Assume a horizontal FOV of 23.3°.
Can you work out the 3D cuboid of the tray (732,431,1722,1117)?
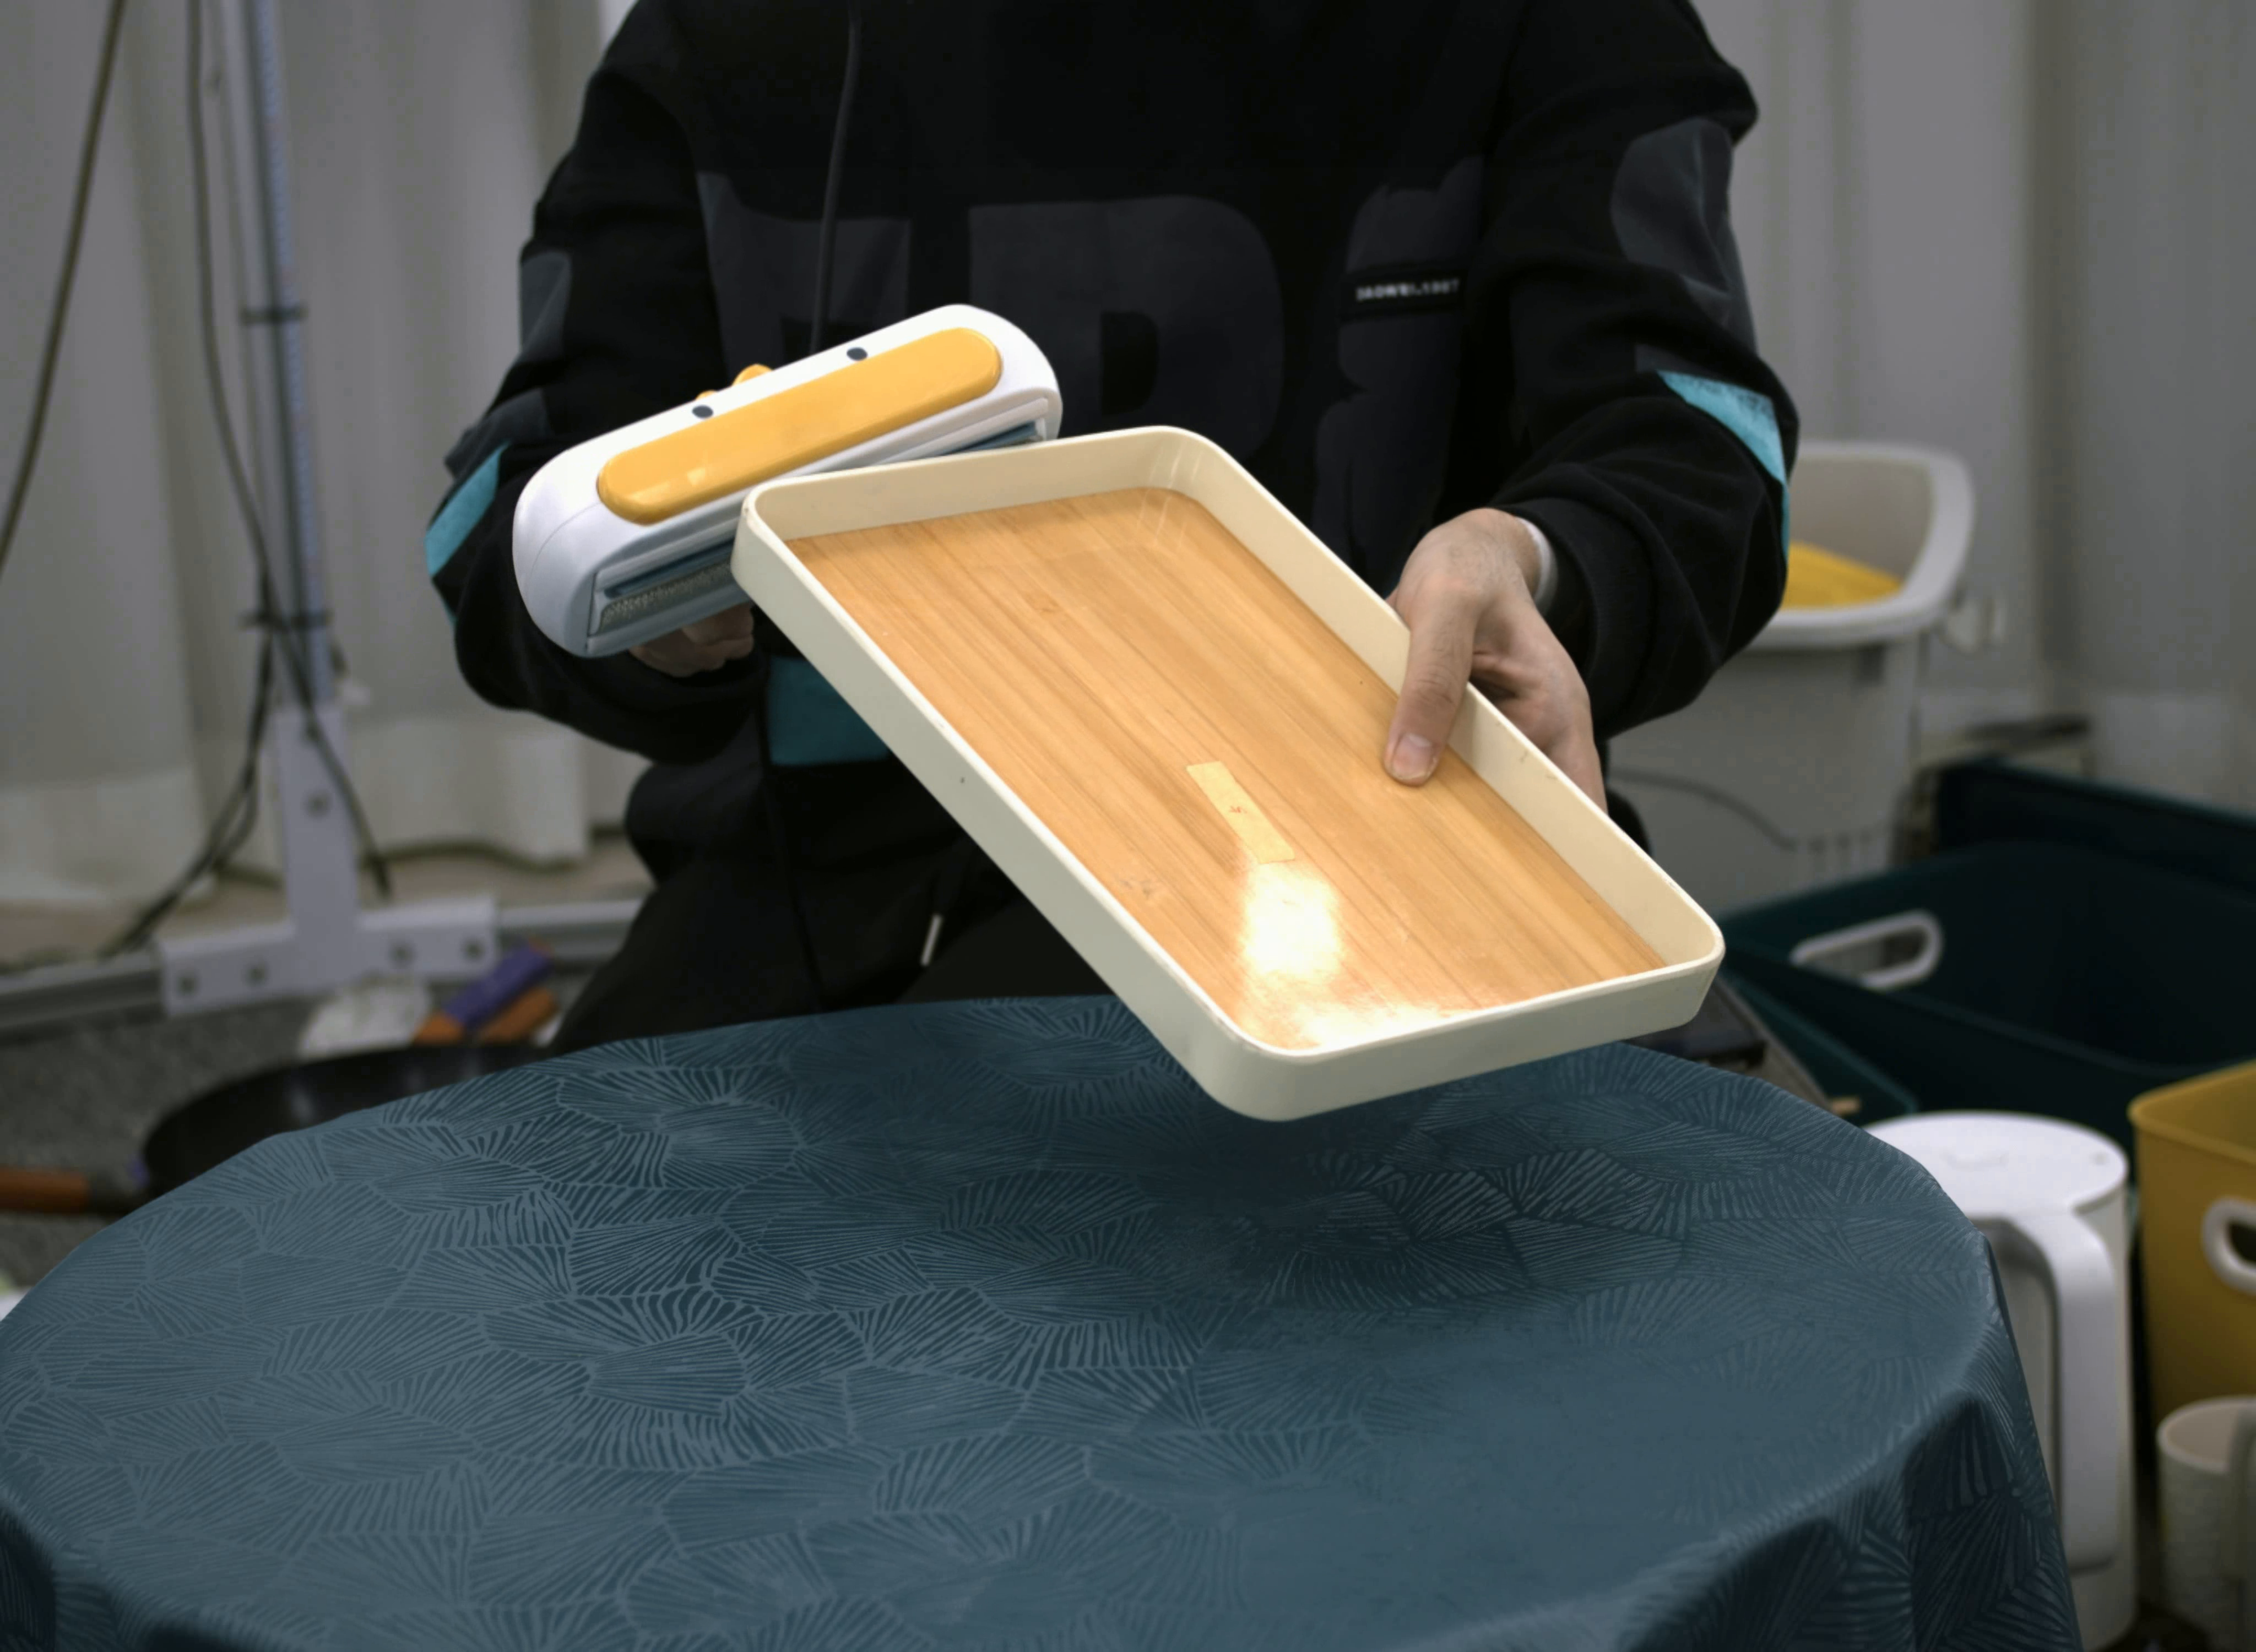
[{"bbox_3d":[0.027,-0.023,1.690,0.191,0.027,0.304,-10,41,-36],"label":"tray"}]

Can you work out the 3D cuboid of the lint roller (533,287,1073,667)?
[{"bbox_3d":[-0.125,-0.096,1.832,0.193,0.075,0.191,-27,-17,-29],"label":"lint roller"}]
